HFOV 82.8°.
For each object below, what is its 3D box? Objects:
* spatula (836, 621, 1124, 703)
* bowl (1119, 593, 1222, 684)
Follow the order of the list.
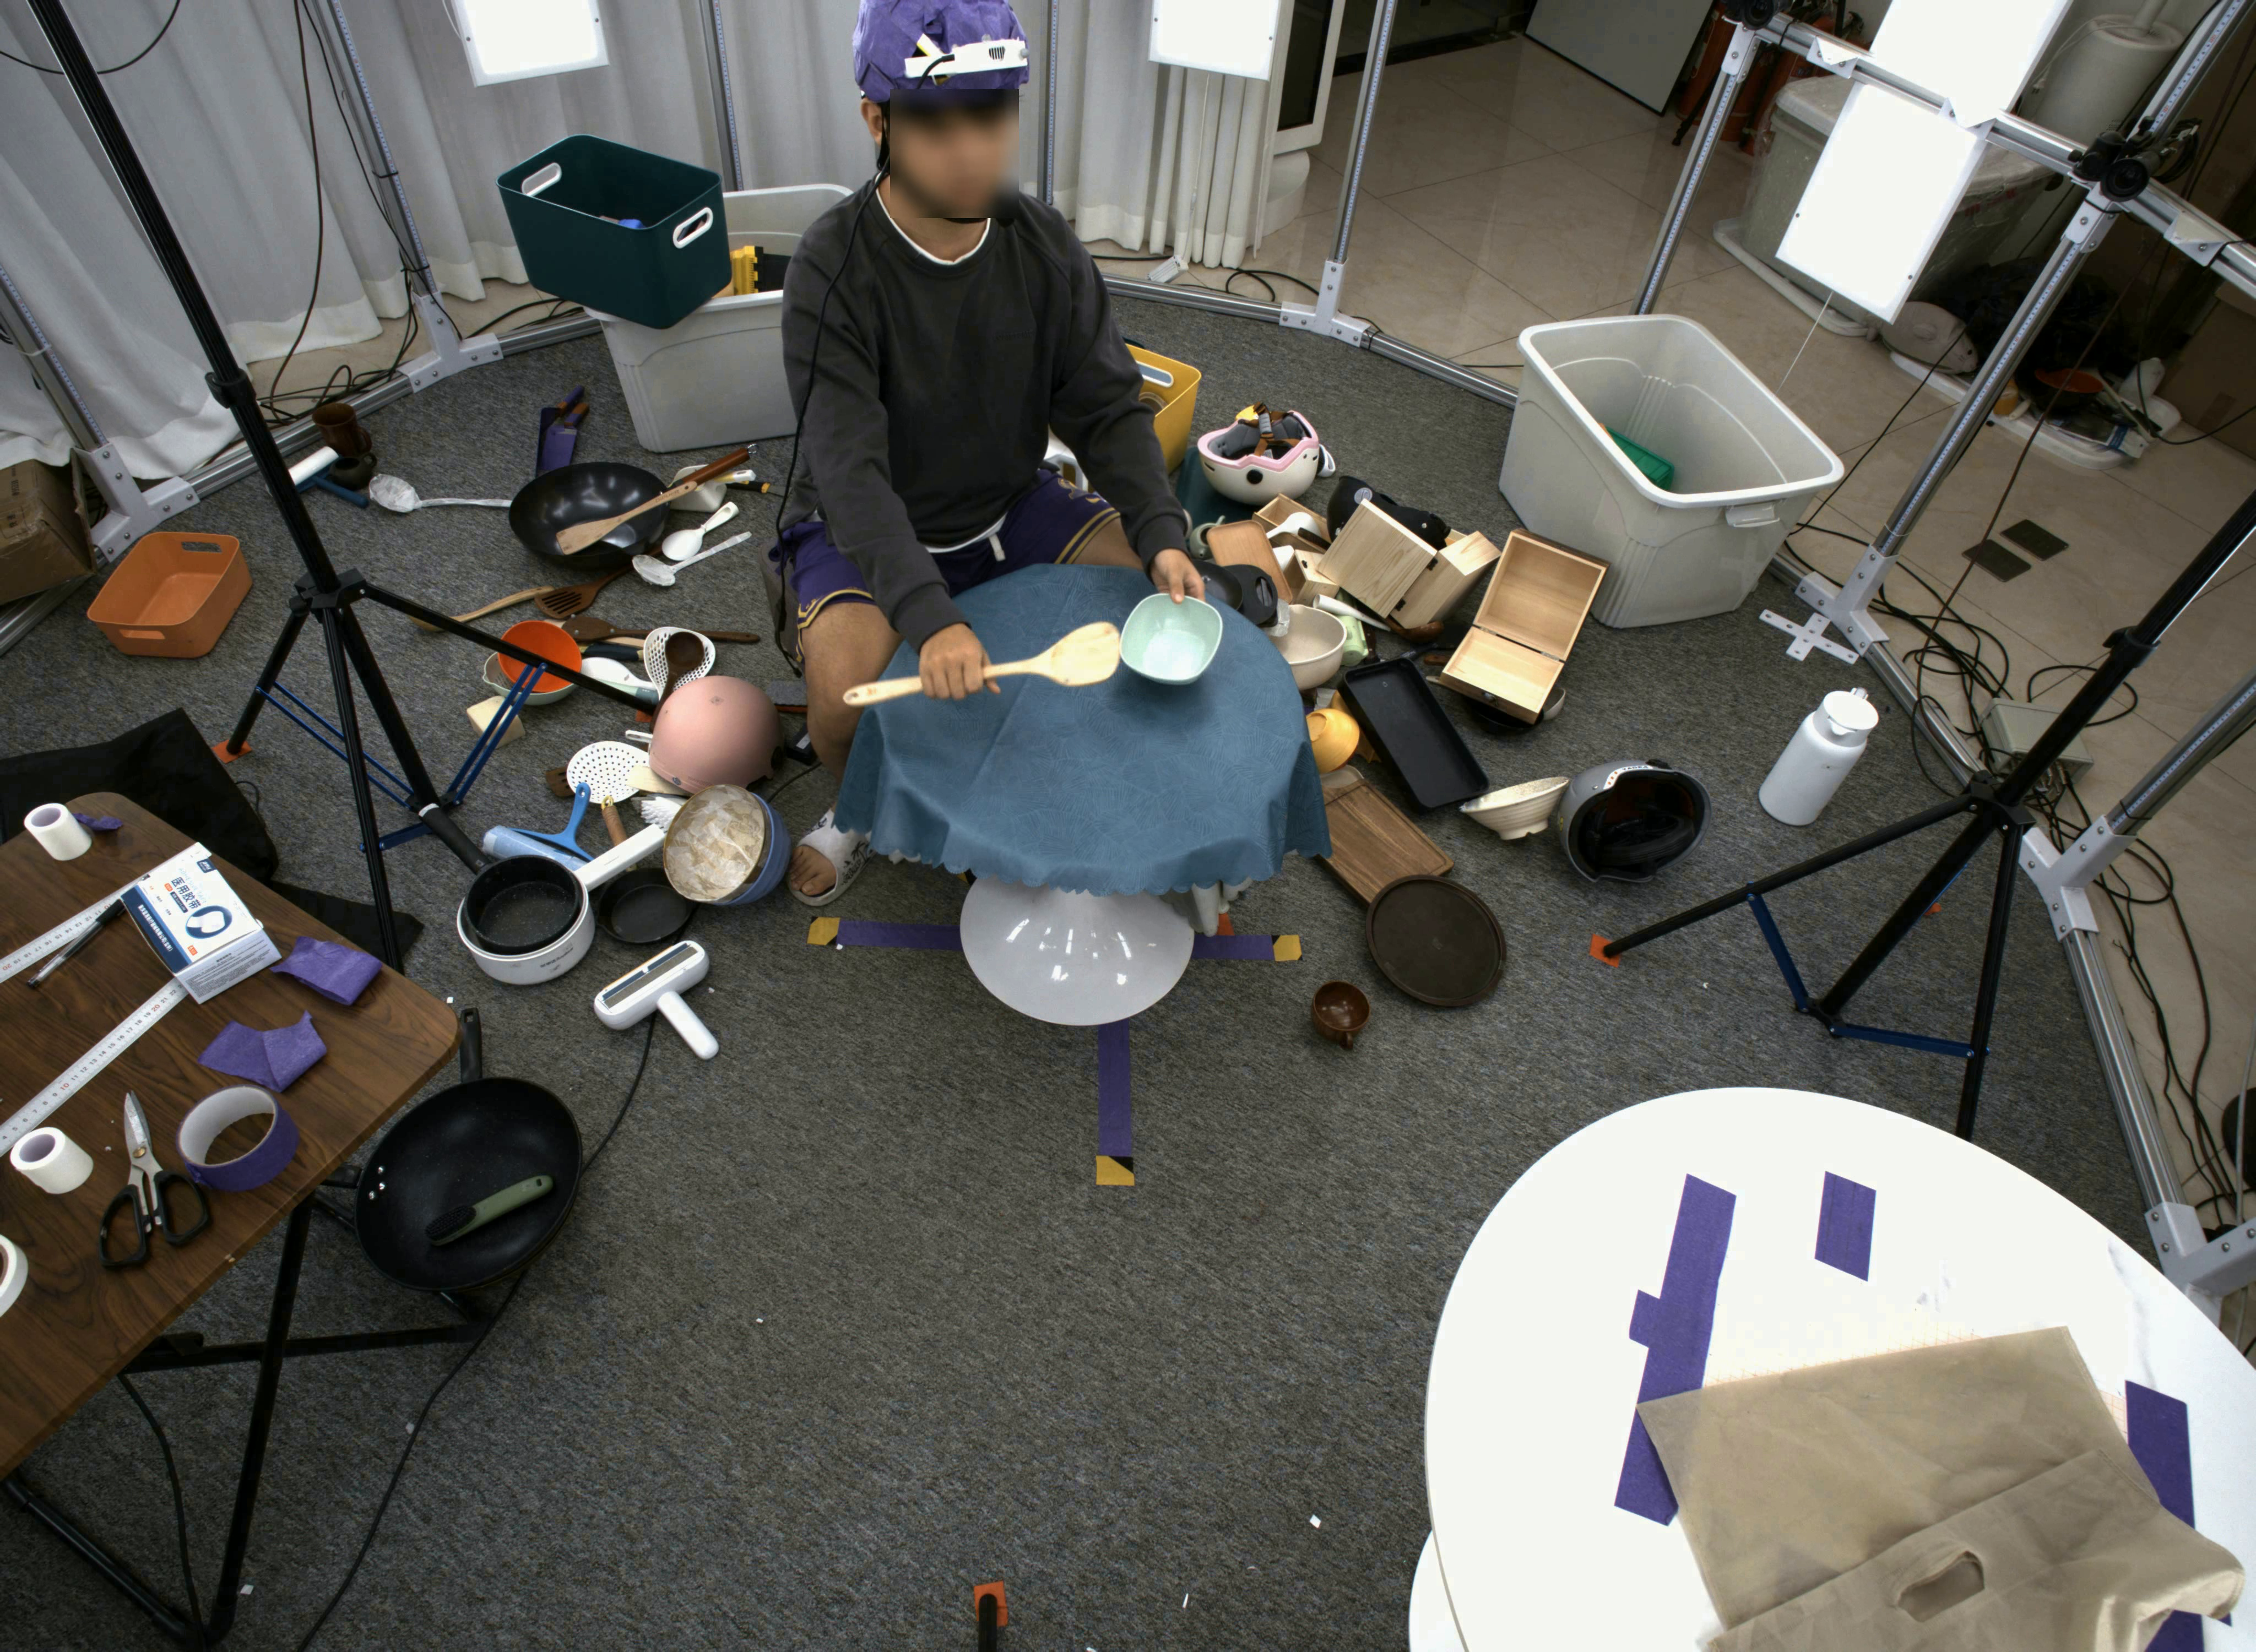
[{"bbox_3d":[-0.193,-0.195,1.645,0.391,0.018,0.098,-8,56,12],"label":"spatula"},{"bbox_3d":[0.063,-0.256,1.825,0.151,0.057,0.154,-3,64,7],"label":"bowl"}]
